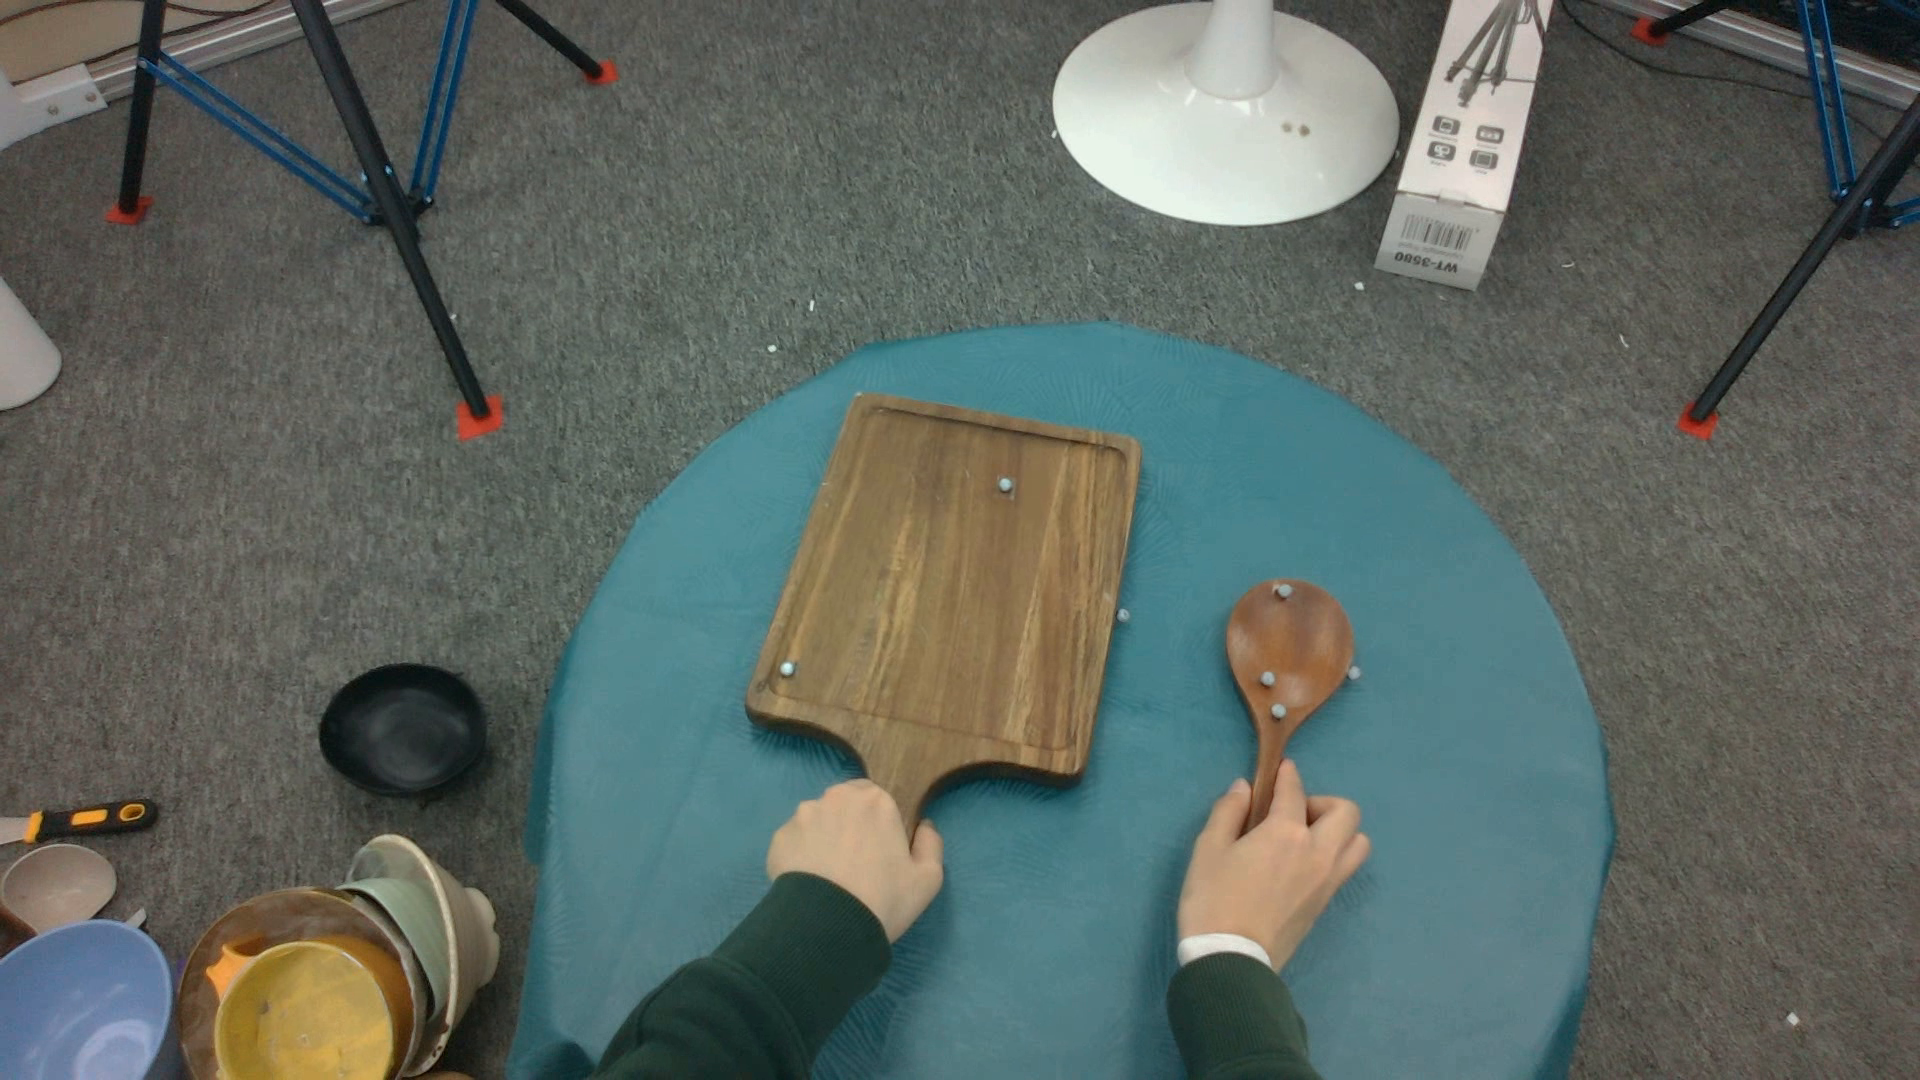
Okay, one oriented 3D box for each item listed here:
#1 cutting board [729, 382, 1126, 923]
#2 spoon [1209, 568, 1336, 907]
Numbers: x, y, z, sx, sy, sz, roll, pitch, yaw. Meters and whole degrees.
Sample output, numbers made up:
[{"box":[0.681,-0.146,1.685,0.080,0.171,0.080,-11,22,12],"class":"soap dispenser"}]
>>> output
[{"box":[-0.020,0.052,0.804,0.201,0.023,0.354,11,54,5],"class":"cutting board"},{"box":[0.168,0.105,0.775,0.075,0.017,0.217,14,54,6],"class":"spoon"}]
